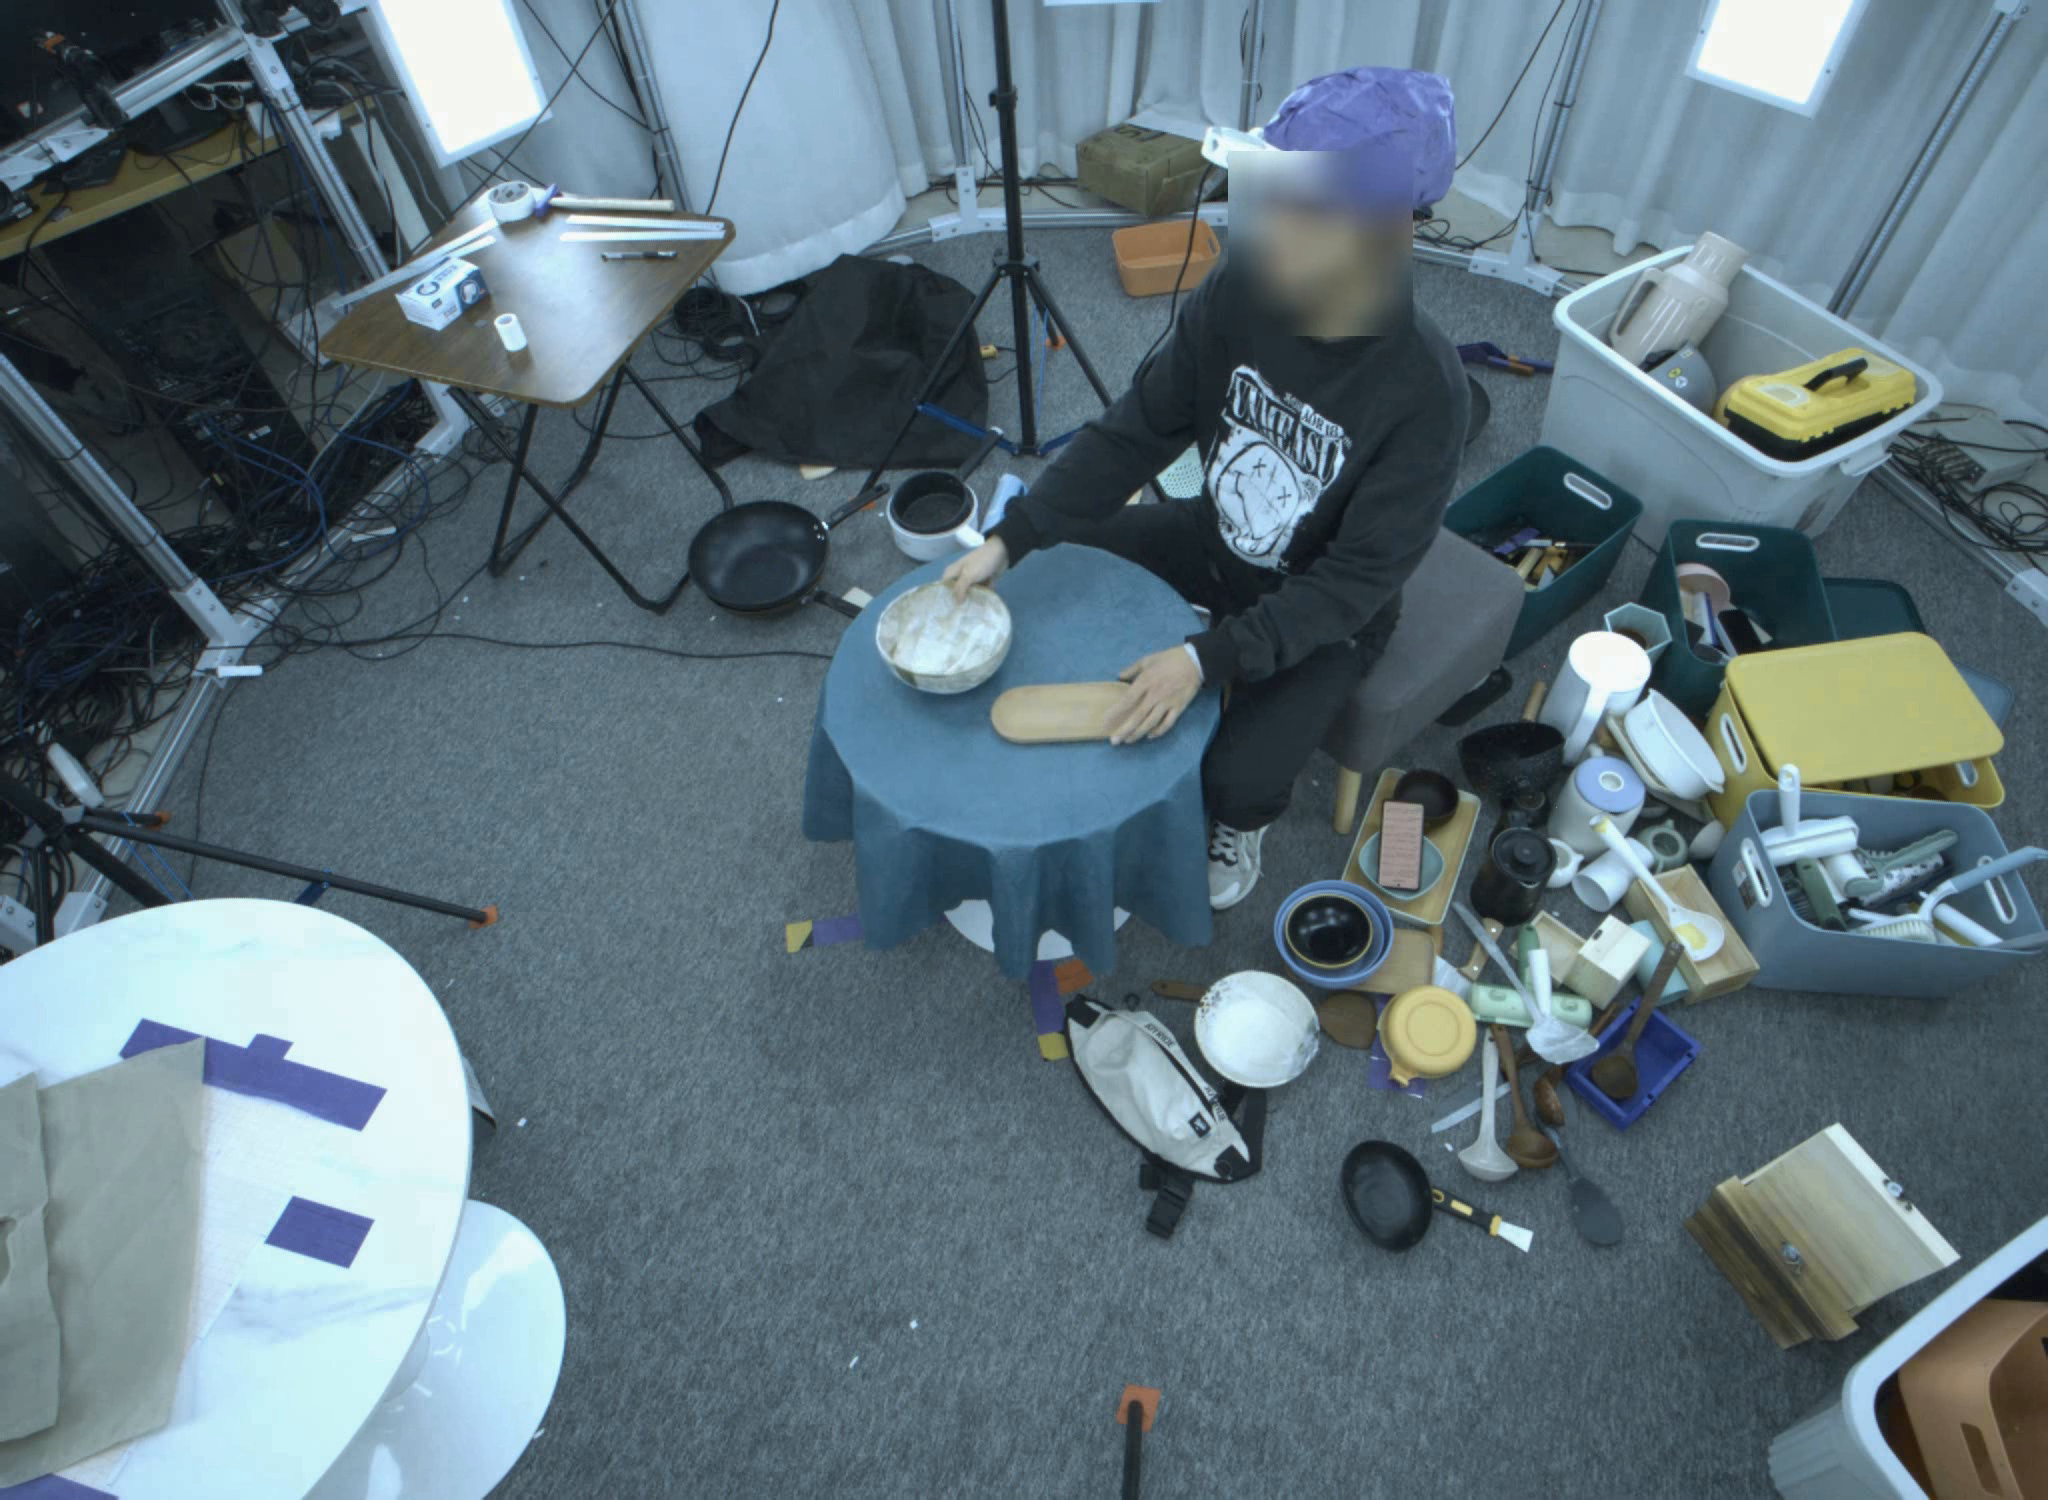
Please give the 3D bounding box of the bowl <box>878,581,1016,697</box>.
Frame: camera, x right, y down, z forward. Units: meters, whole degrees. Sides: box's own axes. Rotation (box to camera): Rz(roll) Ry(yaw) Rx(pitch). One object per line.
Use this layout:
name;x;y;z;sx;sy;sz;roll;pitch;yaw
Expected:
bowl;-0.110;-0.149;1.847;0.214;0.096;0.212;-2;50;3

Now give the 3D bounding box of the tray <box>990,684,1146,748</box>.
tray;0.065;-0.049;1.821;0.231;0.020;0.100;-5;53;1
